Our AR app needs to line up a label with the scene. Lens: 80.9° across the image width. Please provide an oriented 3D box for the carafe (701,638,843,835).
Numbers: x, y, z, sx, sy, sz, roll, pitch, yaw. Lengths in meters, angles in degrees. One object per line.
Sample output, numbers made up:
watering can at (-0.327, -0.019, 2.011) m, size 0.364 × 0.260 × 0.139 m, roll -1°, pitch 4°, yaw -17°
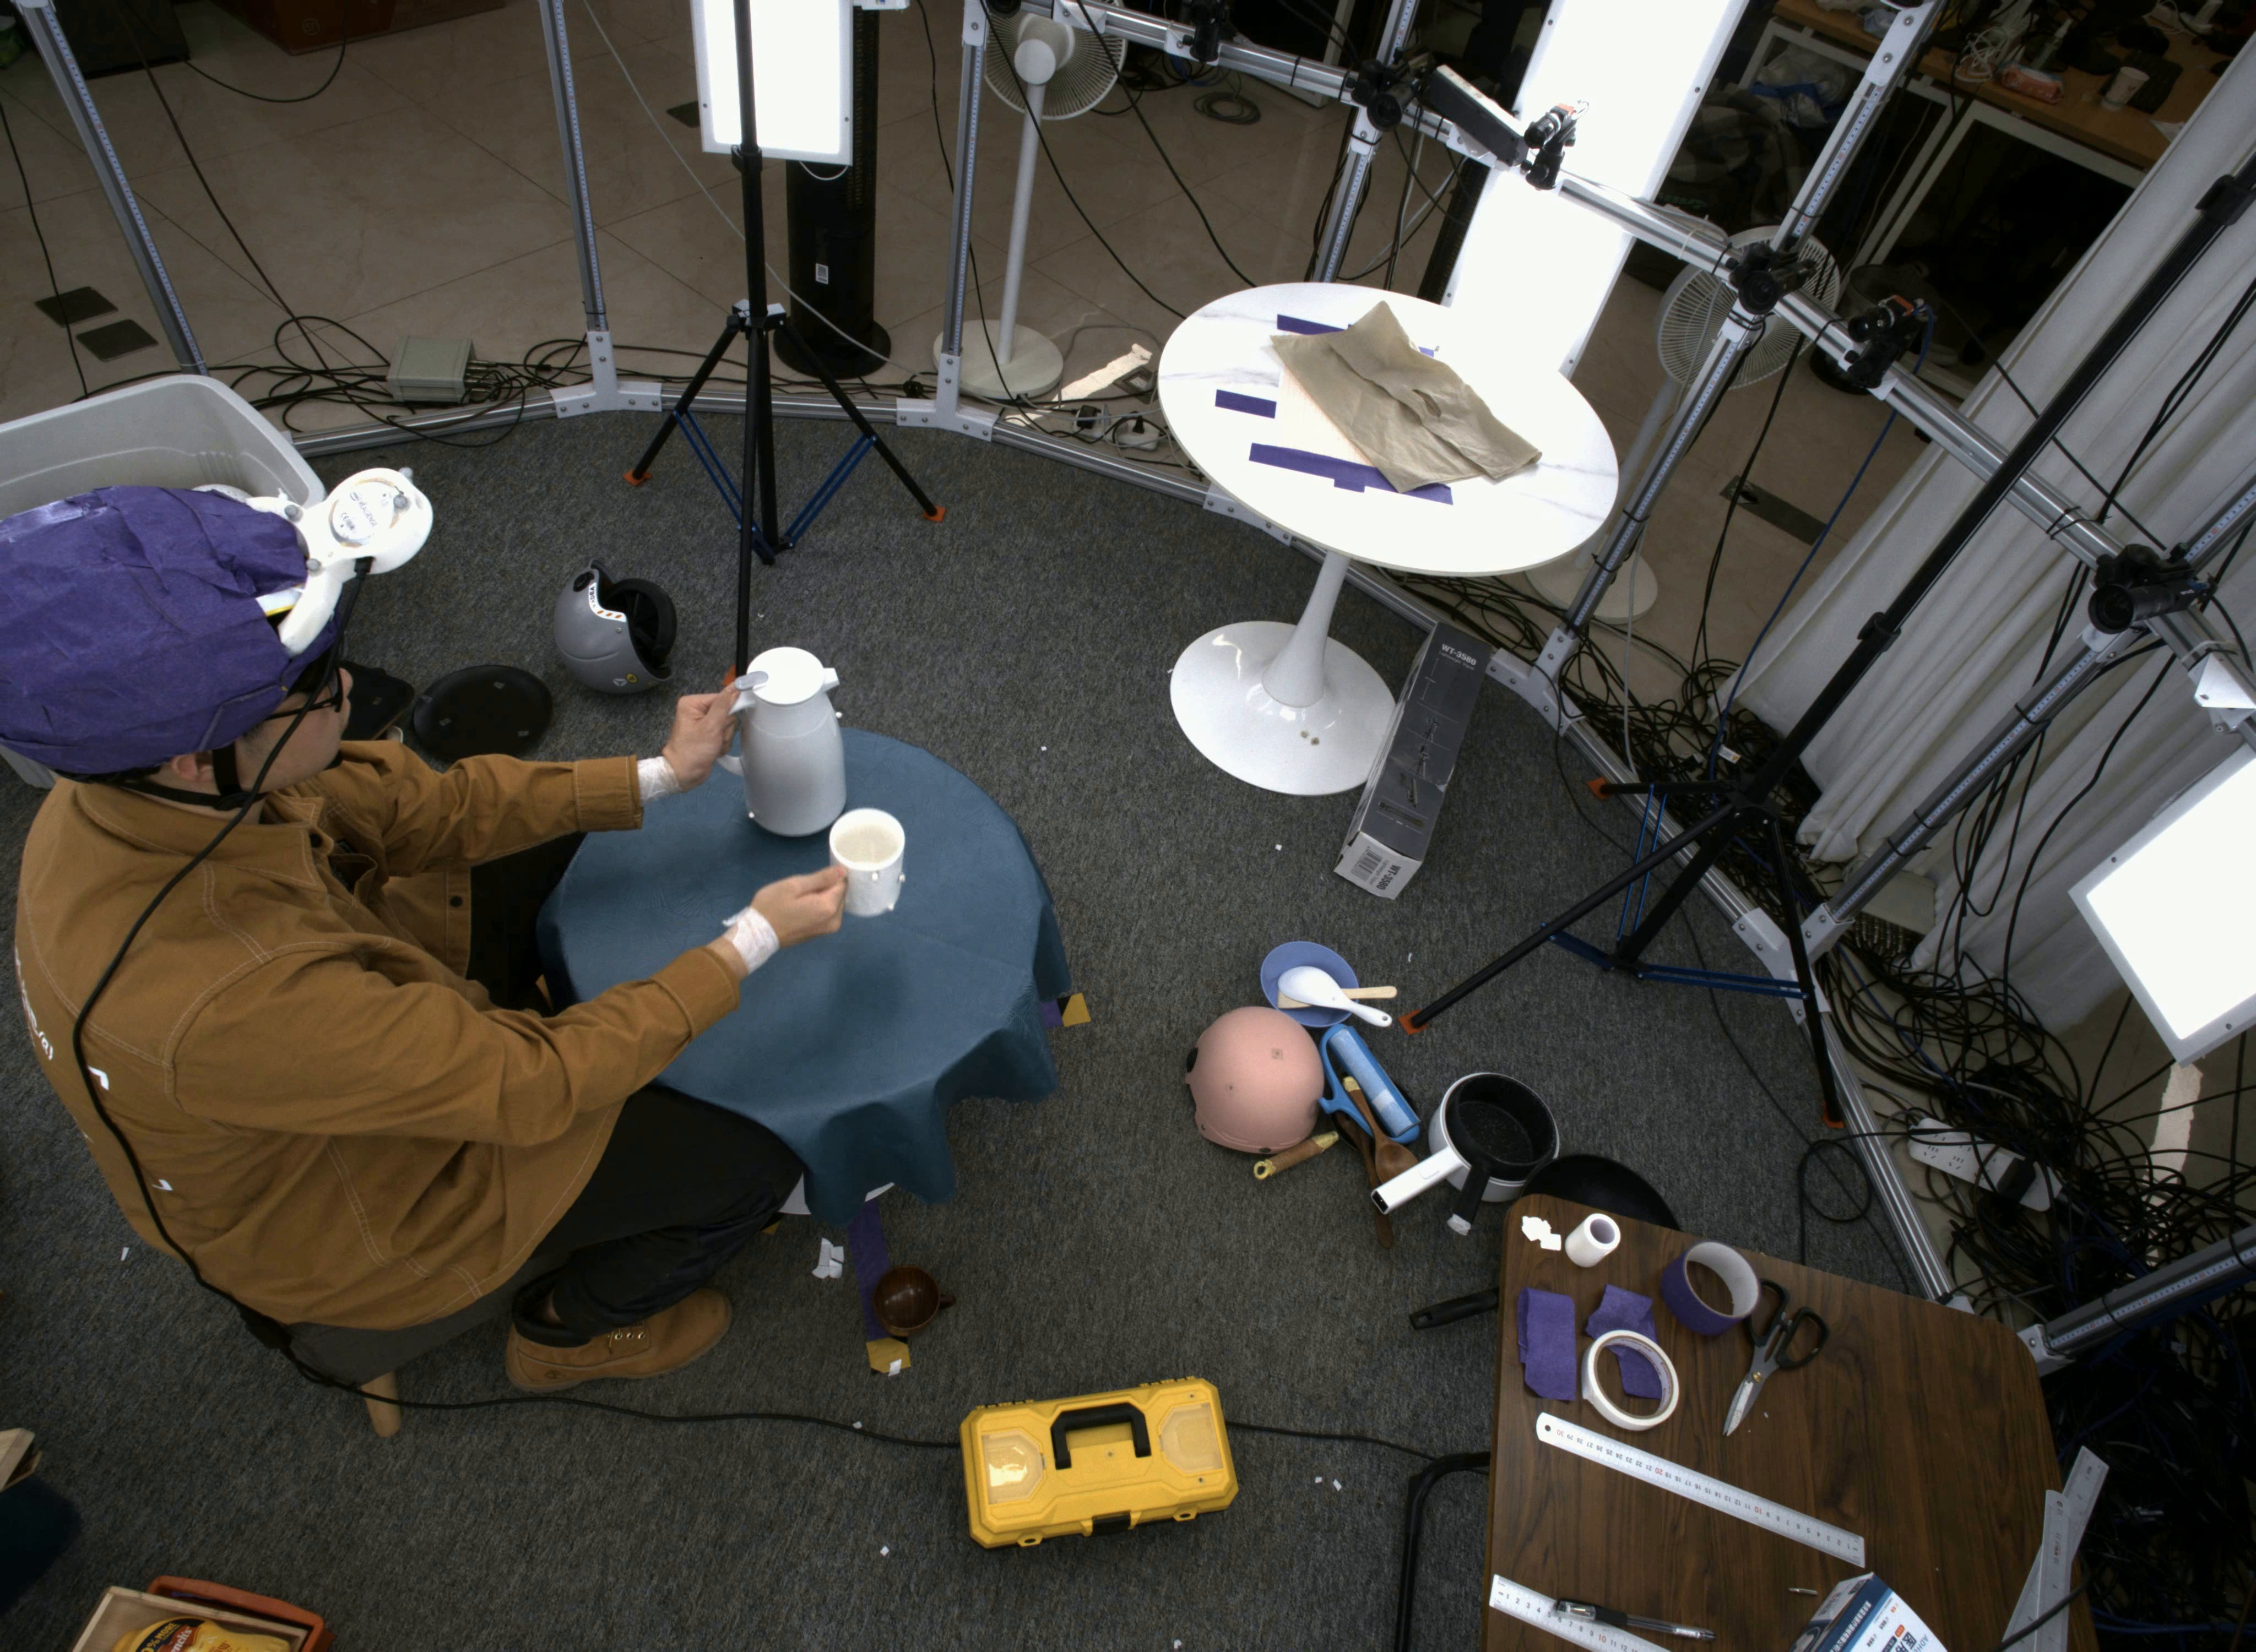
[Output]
carafe at (-0.443, -0.112, 1.612) m, size 0.168 × 0.254 × 0.129 m, roll -15°, pitch 58°, yaw -20°

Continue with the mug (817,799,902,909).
mug at (-0.315, 0.043, 1.500) m, size 0.083 × 0.104 × 0.118 m, roll 31°, pitch 52°, yaw 12°
